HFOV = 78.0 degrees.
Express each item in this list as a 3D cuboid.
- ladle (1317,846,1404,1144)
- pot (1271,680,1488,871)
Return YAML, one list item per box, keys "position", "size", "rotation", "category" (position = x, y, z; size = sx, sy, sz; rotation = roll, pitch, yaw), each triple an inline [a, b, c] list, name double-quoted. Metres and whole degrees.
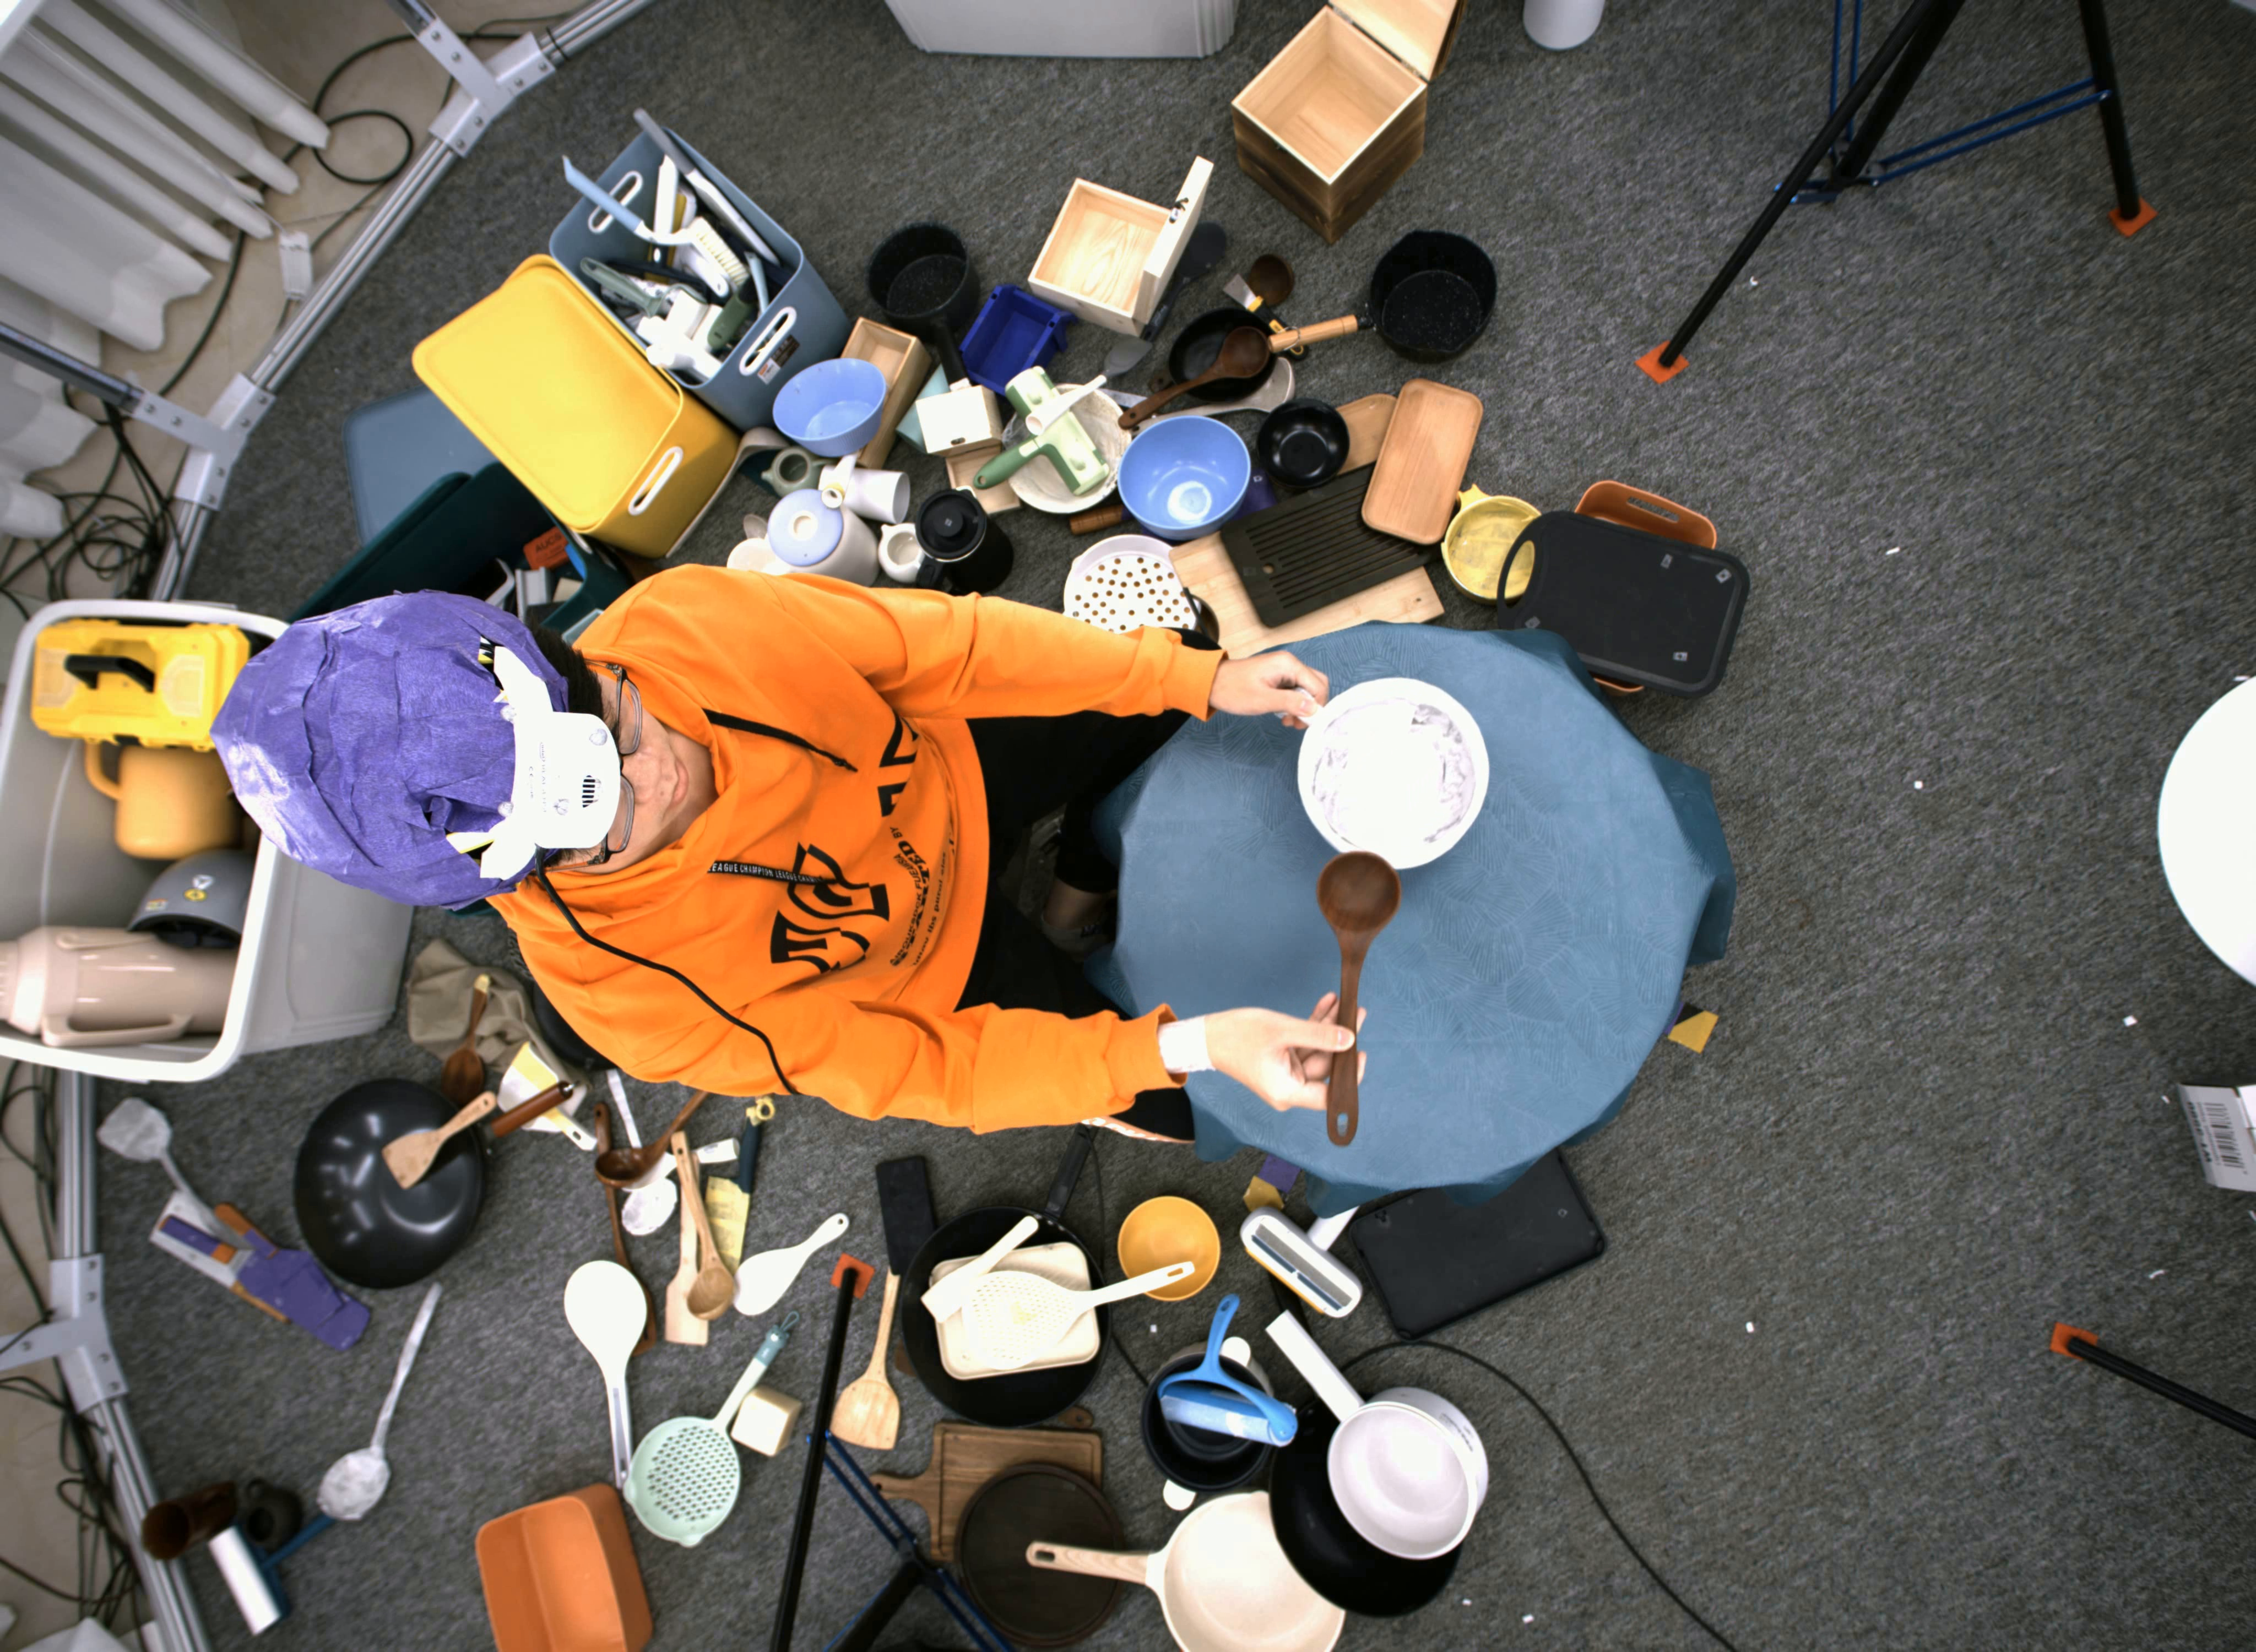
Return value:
- position: [0.190, 0.136, 1.172]
  size: [0.077, 0.066, 0.254]
  rotation: [0, 59, 18]
  category: "ladle"
- position: [0.236, -0.063, 1.354]
  size: [0.233, 0.136, 0.179]
  rotation: [38, 94, 10]
  category: "pot"
